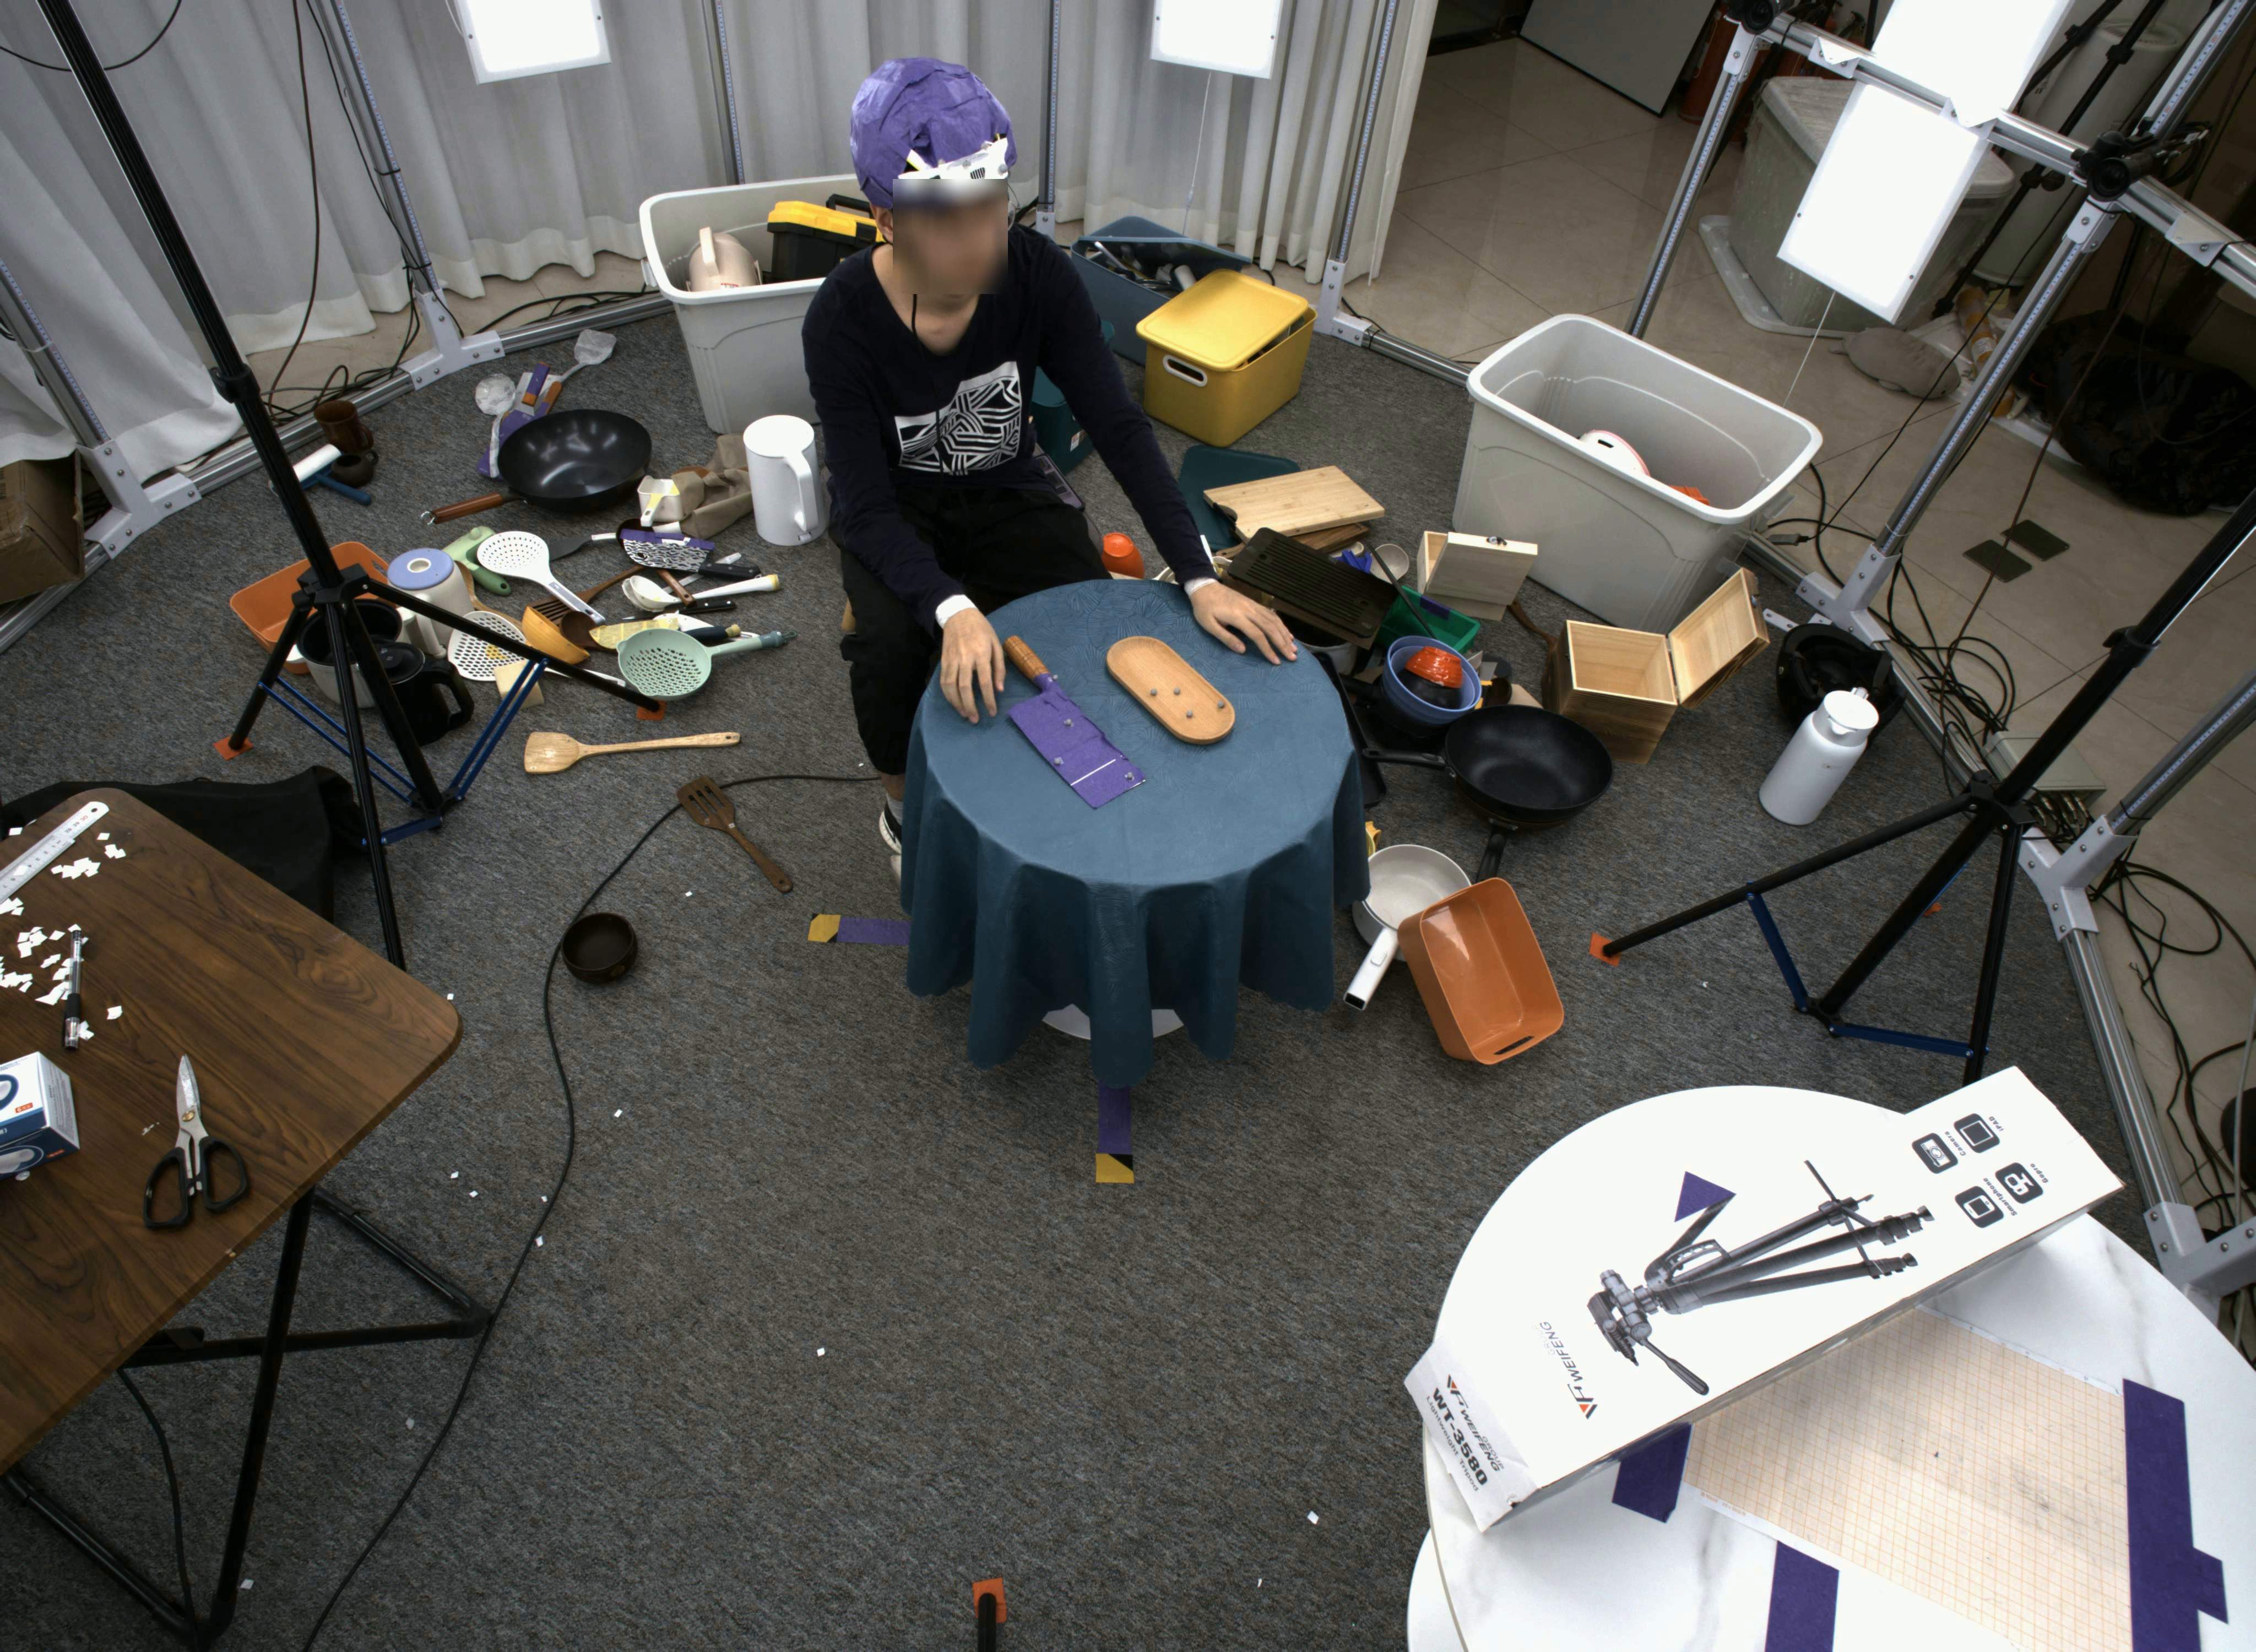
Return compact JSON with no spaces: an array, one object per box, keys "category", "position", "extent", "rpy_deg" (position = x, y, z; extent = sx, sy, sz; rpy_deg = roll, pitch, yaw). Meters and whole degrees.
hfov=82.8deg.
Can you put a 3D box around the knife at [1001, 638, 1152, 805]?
[{"category":"knife","position":[-0.101,-0.148,1.771],"extent":[0.104,0.031,0.321],"rpy_deg":[-28,57,-26]}]

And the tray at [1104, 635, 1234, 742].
[{"category":"tray","position":[0.057,-0.198,1.833],"extent":[0.102,0.020,0.235],"rpy_deg":[-29,55,-26]}]
